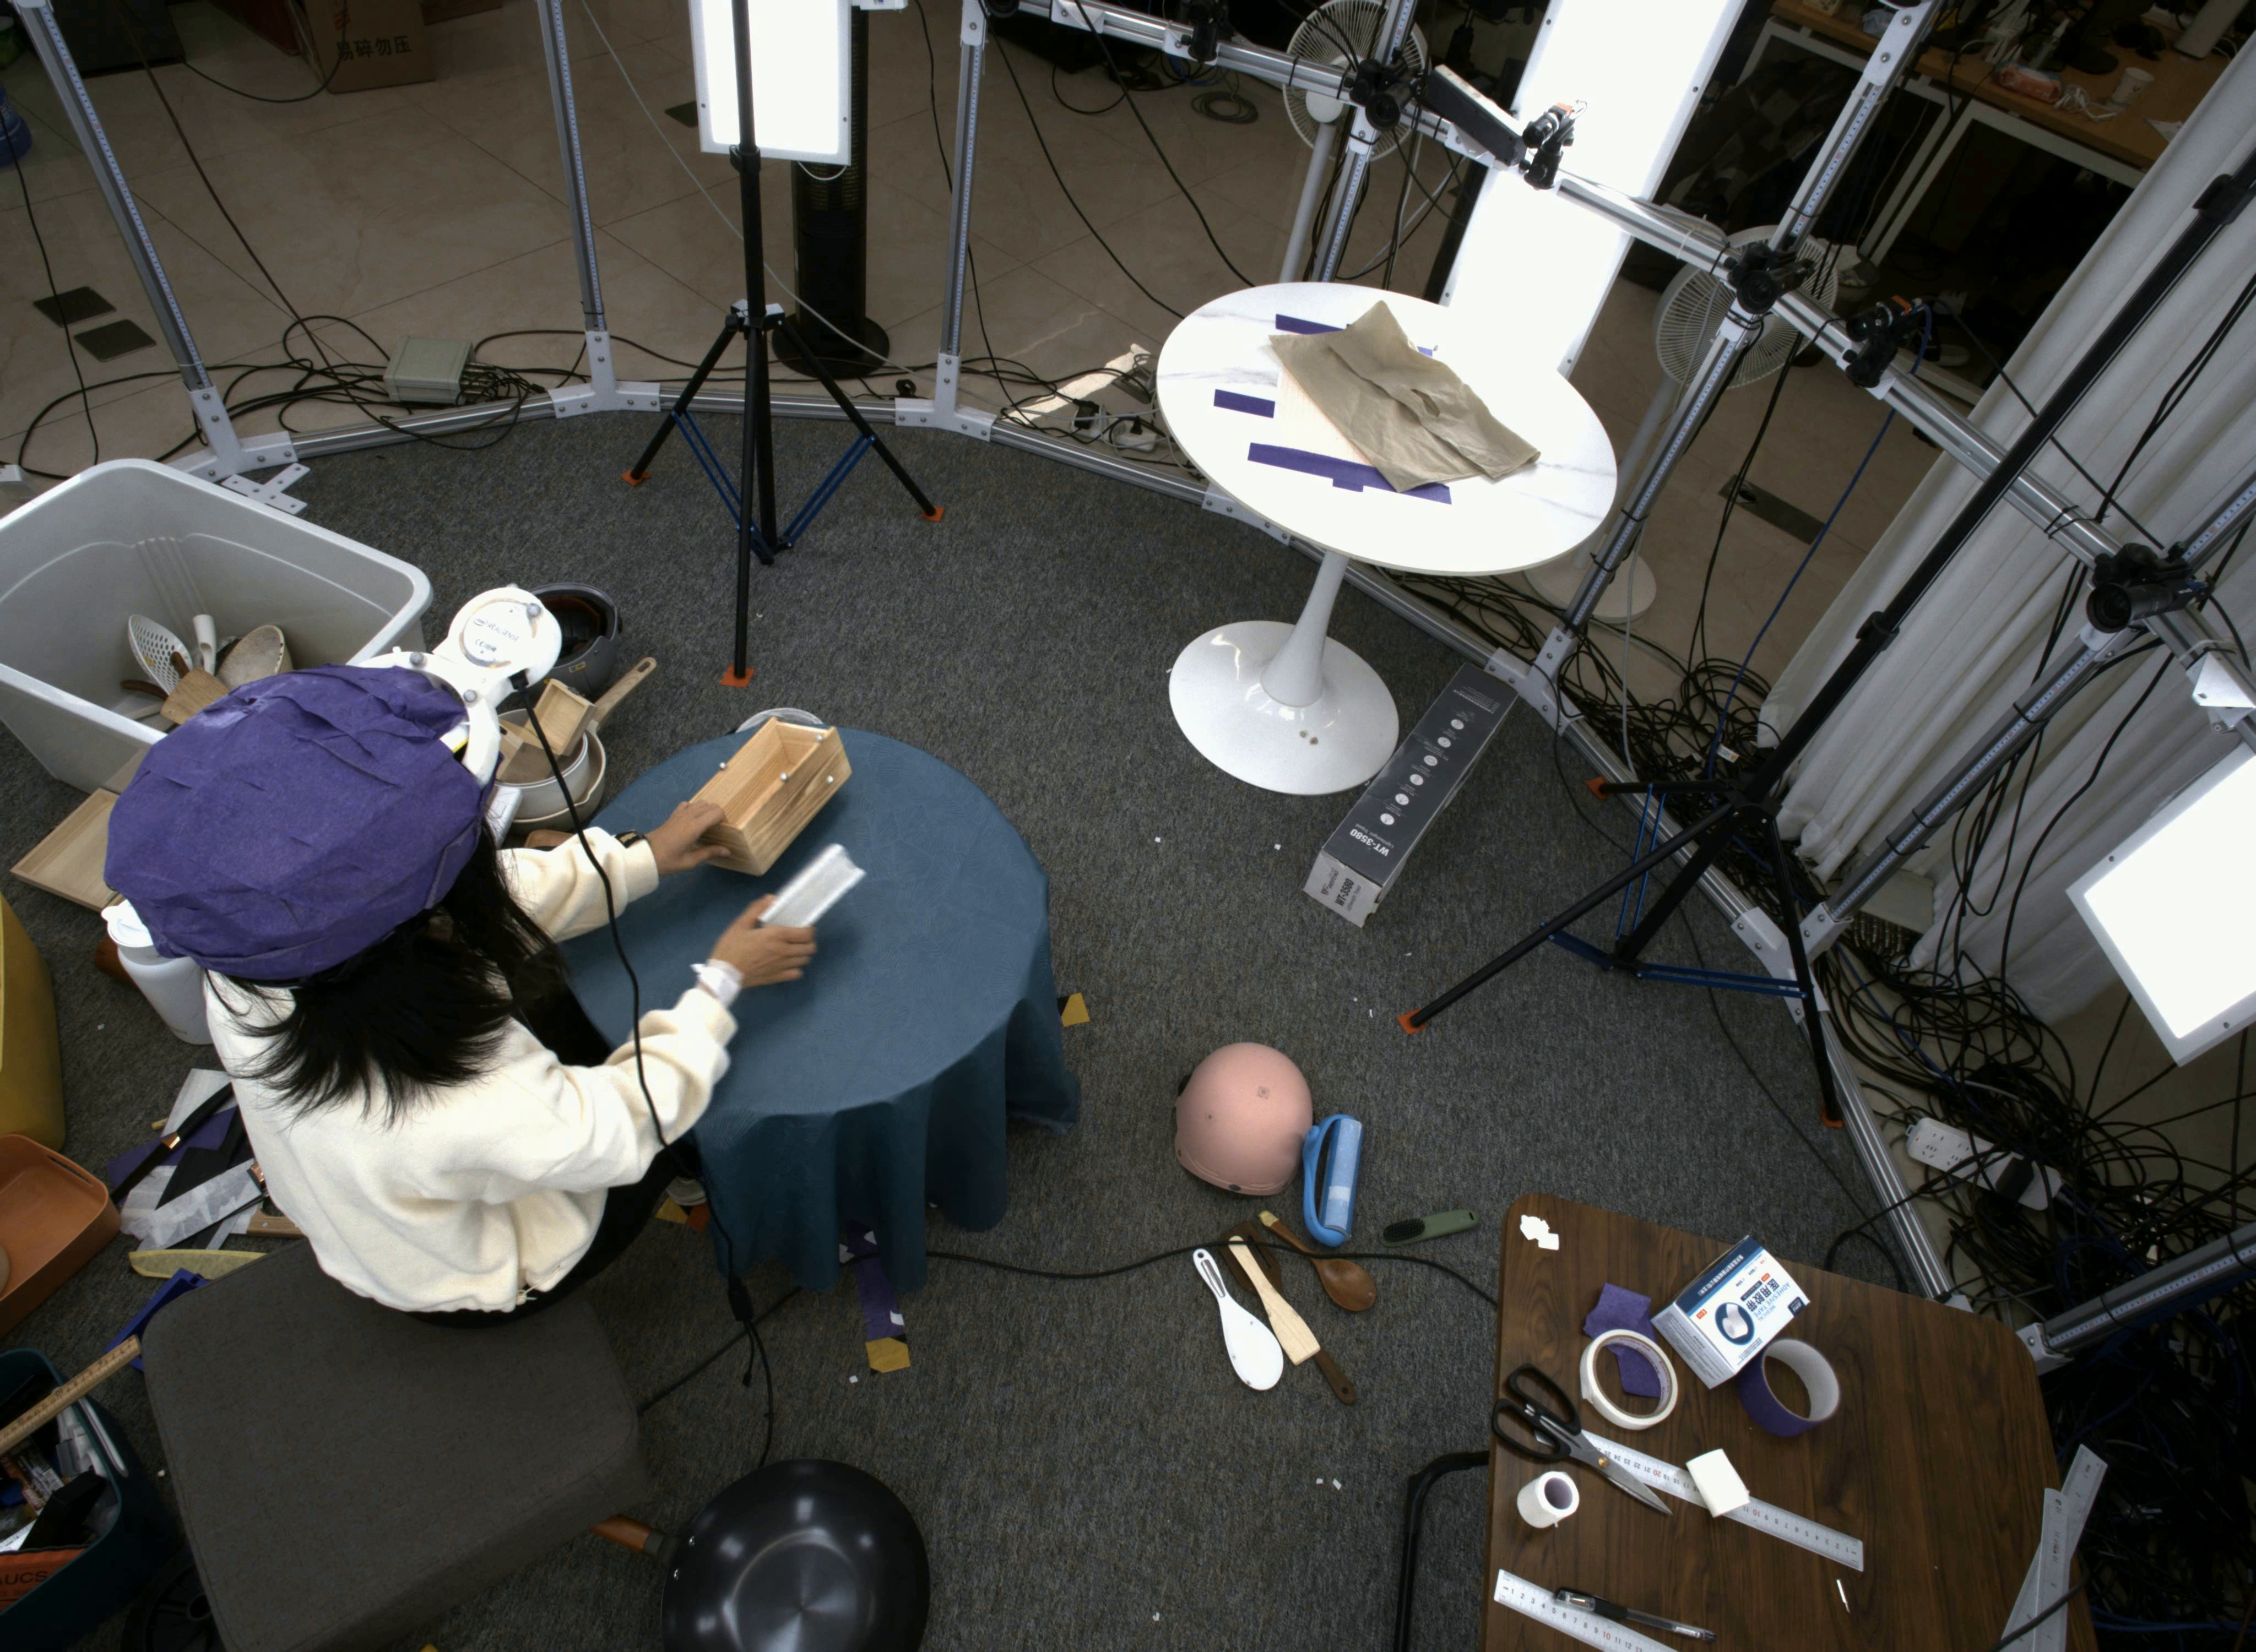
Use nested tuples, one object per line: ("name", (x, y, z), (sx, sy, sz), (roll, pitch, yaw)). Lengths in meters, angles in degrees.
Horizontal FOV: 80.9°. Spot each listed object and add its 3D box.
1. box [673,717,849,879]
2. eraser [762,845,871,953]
("box", (-0.467, -0.040, 1.661), (0.104, 0.083, 0.210), (12, 45, 21))
("eraser", (-0.378, 0.086, 1.568), (0.051, 0.045, 0.134), (50, 62, -18))
